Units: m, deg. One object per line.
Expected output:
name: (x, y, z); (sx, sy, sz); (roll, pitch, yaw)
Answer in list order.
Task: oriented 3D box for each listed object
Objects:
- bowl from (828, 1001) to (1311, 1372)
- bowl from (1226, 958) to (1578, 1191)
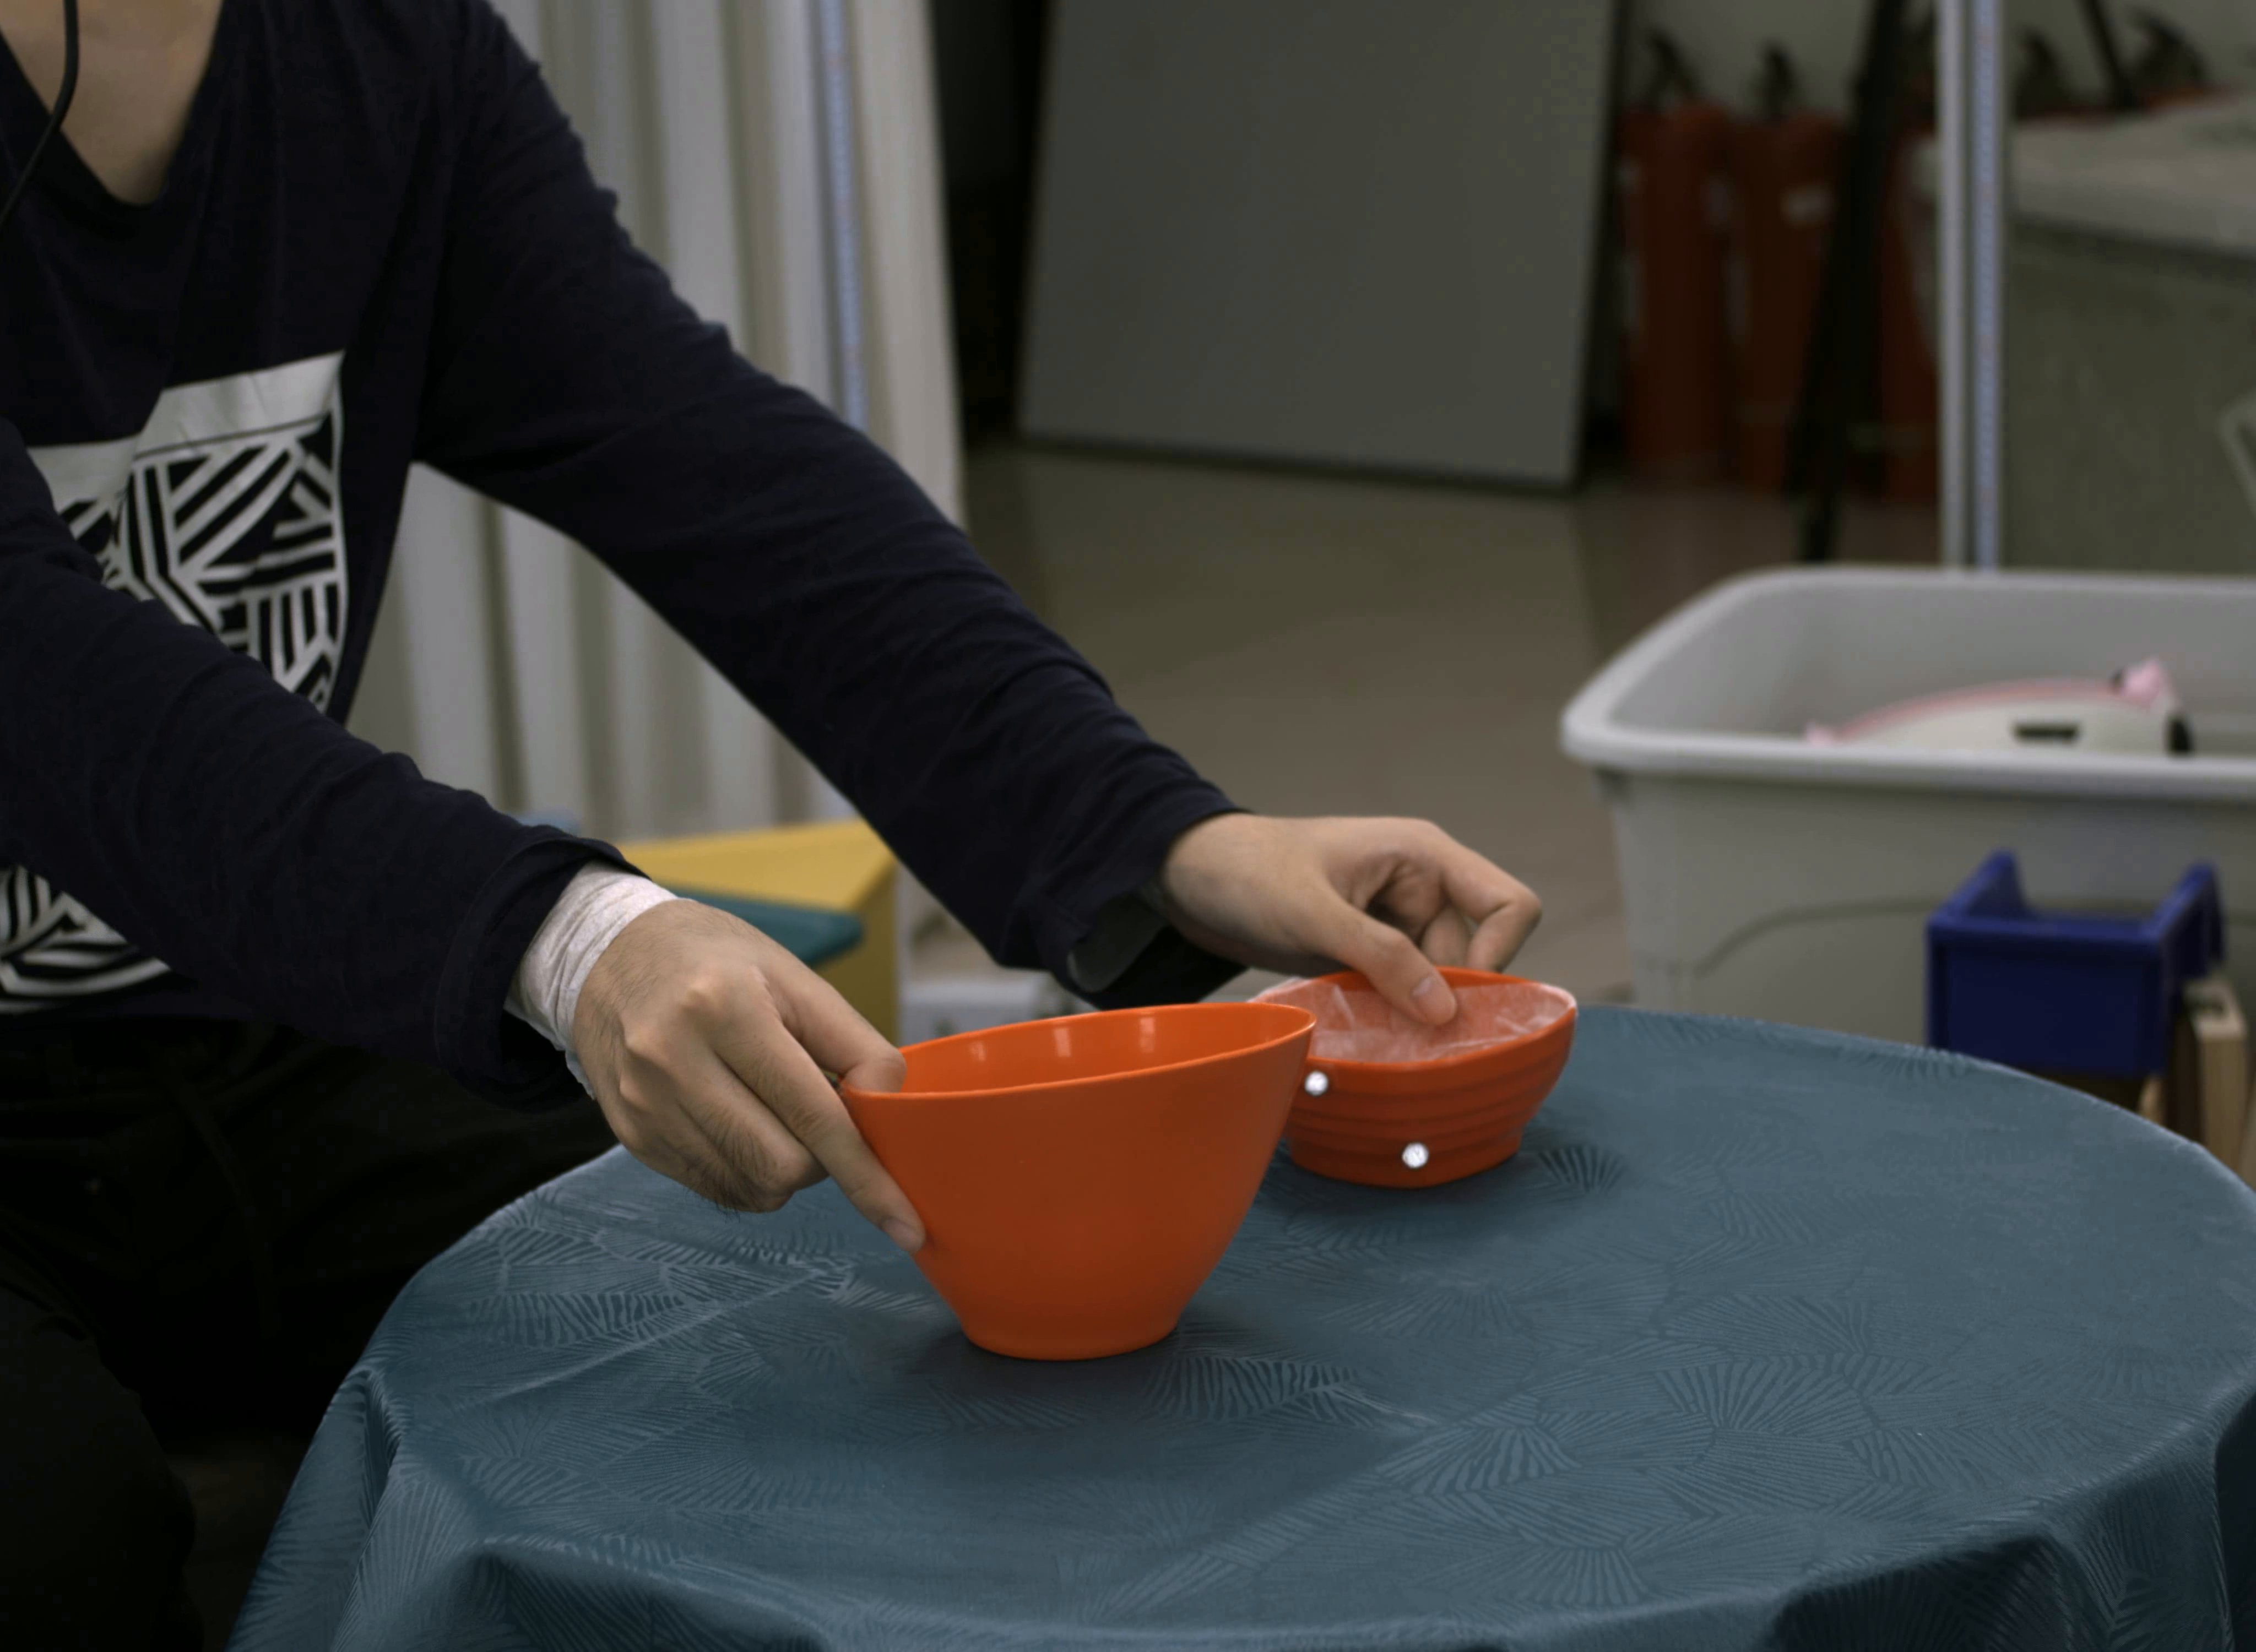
bowl: (-0.015, 0.107, 1.624); (0.146, 0.106, 0.148); (-4, 14, 0)
bowl: (0.091, 0.084, 1.785); (0.117, 0.052, 0.119); (-3, 15, 0)
